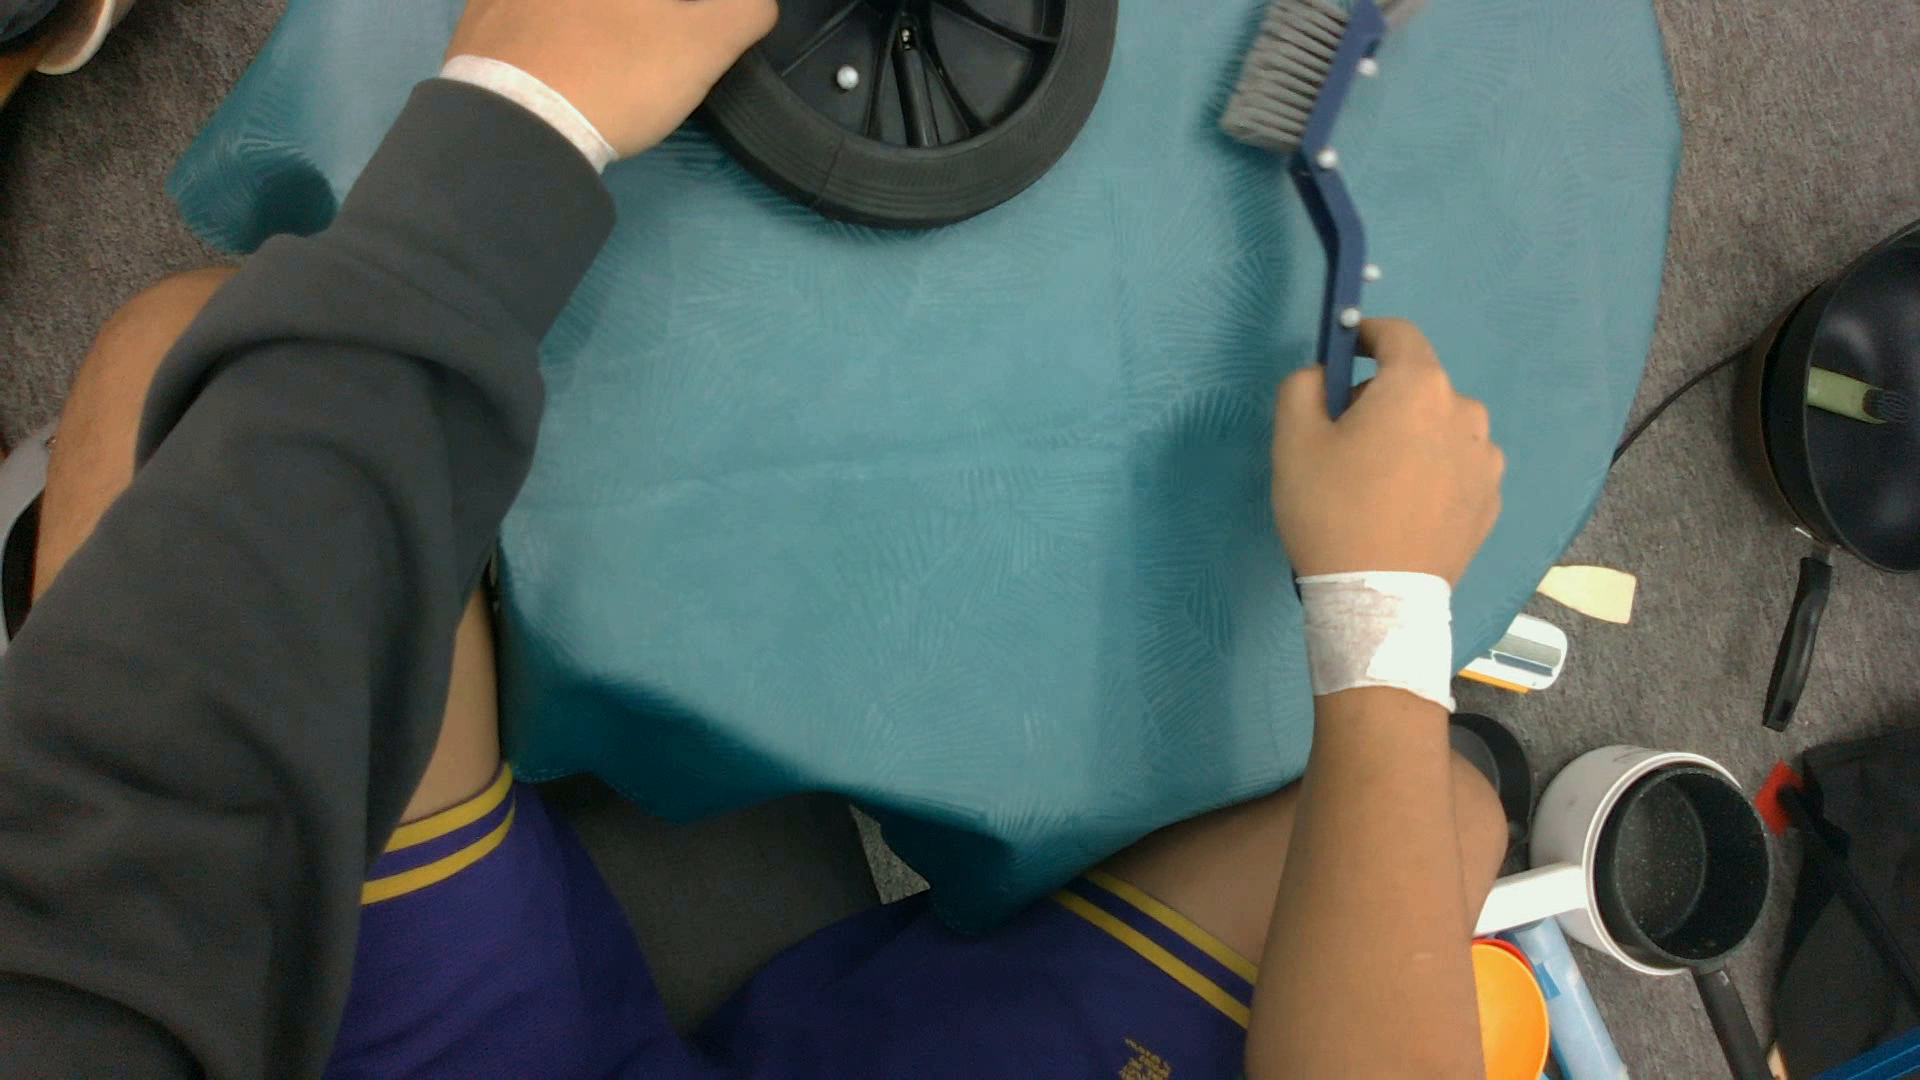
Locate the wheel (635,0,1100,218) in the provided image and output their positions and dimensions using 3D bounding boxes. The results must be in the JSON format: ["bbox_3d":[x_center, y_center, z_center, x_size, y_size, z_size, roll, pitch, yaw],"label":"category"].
[{"bbox_3d":[-0.024,-0.220,0.513,0.188,0.079,0.189,-37,104,-18],"label":"wheel"}]

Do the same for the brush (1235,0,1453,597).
[{"bbox_3d":[0.165,-0.111,0.580,0.096,0.033,0.273,1,80,-3],"label":"brush"}]
